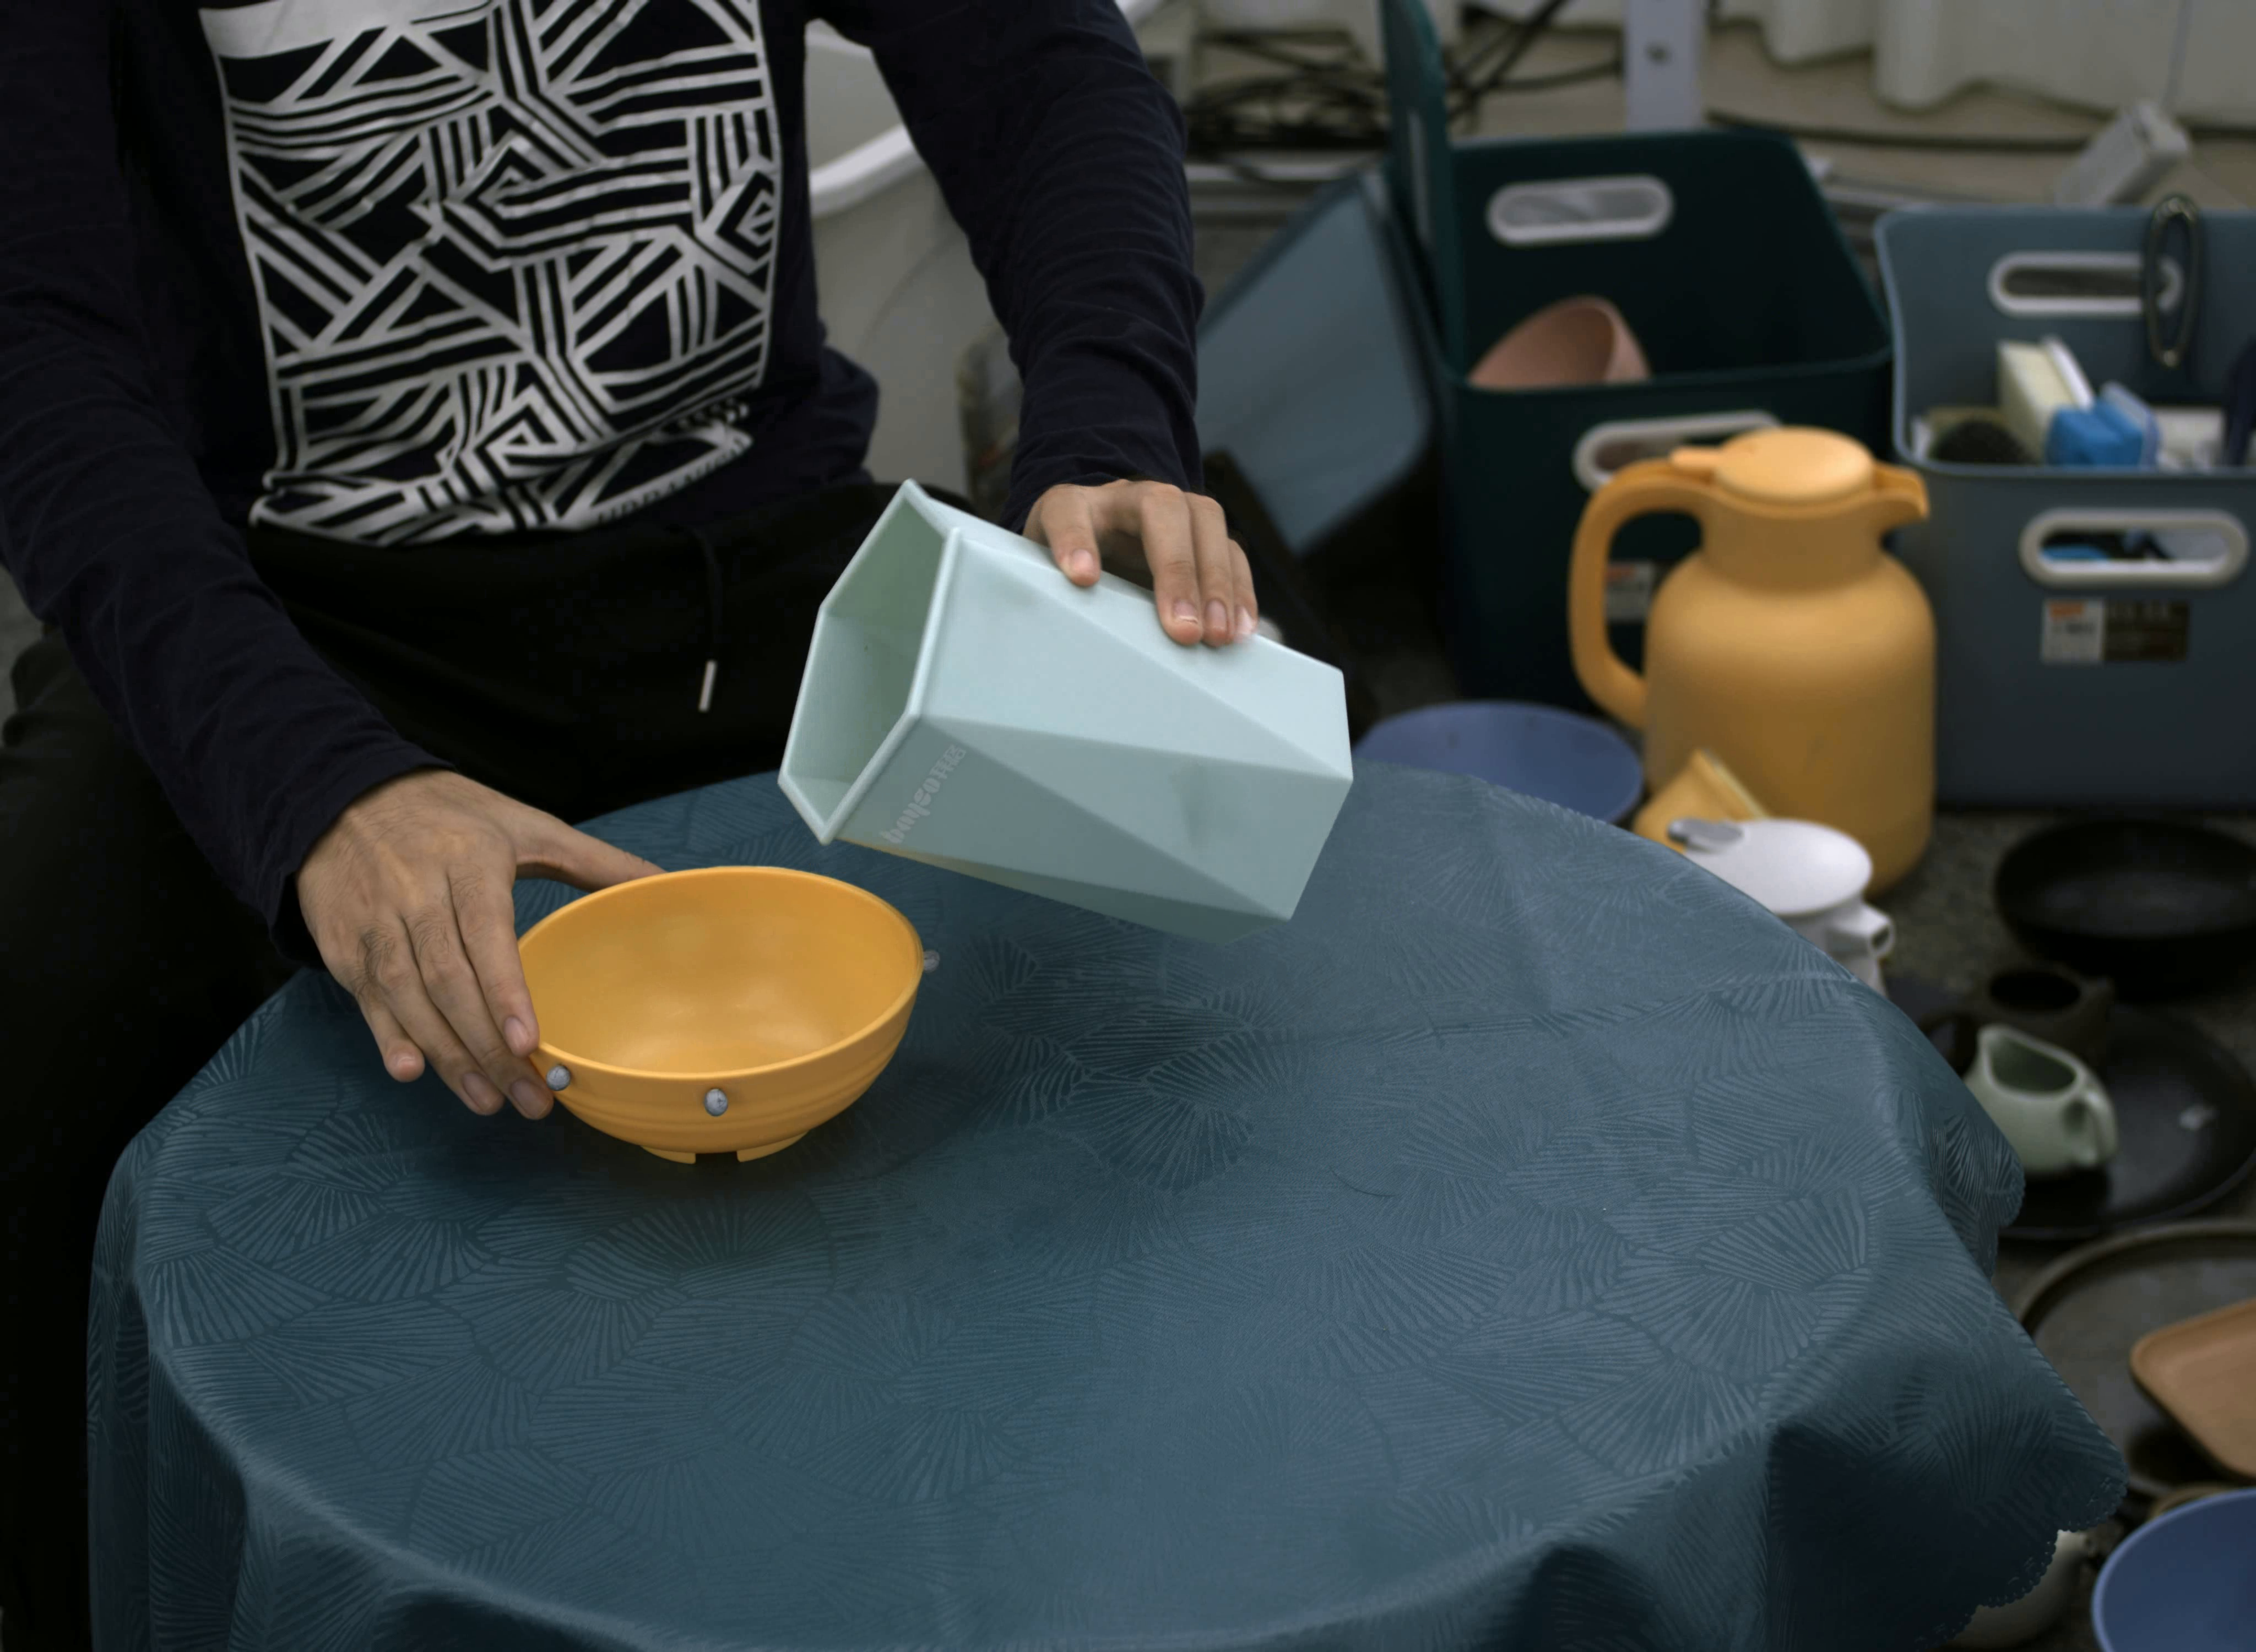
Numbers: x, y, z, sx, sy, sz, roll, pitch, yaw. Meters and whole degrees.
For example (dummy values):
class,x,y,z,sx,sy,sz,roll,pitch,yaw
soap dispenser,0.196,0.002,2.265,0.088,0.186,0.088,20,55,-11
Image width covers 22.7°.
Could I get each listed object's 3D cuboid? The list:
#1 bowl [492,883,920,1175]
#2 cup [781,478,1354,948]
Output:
class,x,y,z,sx,sy,sz,roll,pitch,yaw
bowl,-0.141,0.077,1.904,0.144,0.059,0.147,-2,24,1
cup,-0.017,-0.031,1.891,0.162,0.129,0.117,20,38,-20
